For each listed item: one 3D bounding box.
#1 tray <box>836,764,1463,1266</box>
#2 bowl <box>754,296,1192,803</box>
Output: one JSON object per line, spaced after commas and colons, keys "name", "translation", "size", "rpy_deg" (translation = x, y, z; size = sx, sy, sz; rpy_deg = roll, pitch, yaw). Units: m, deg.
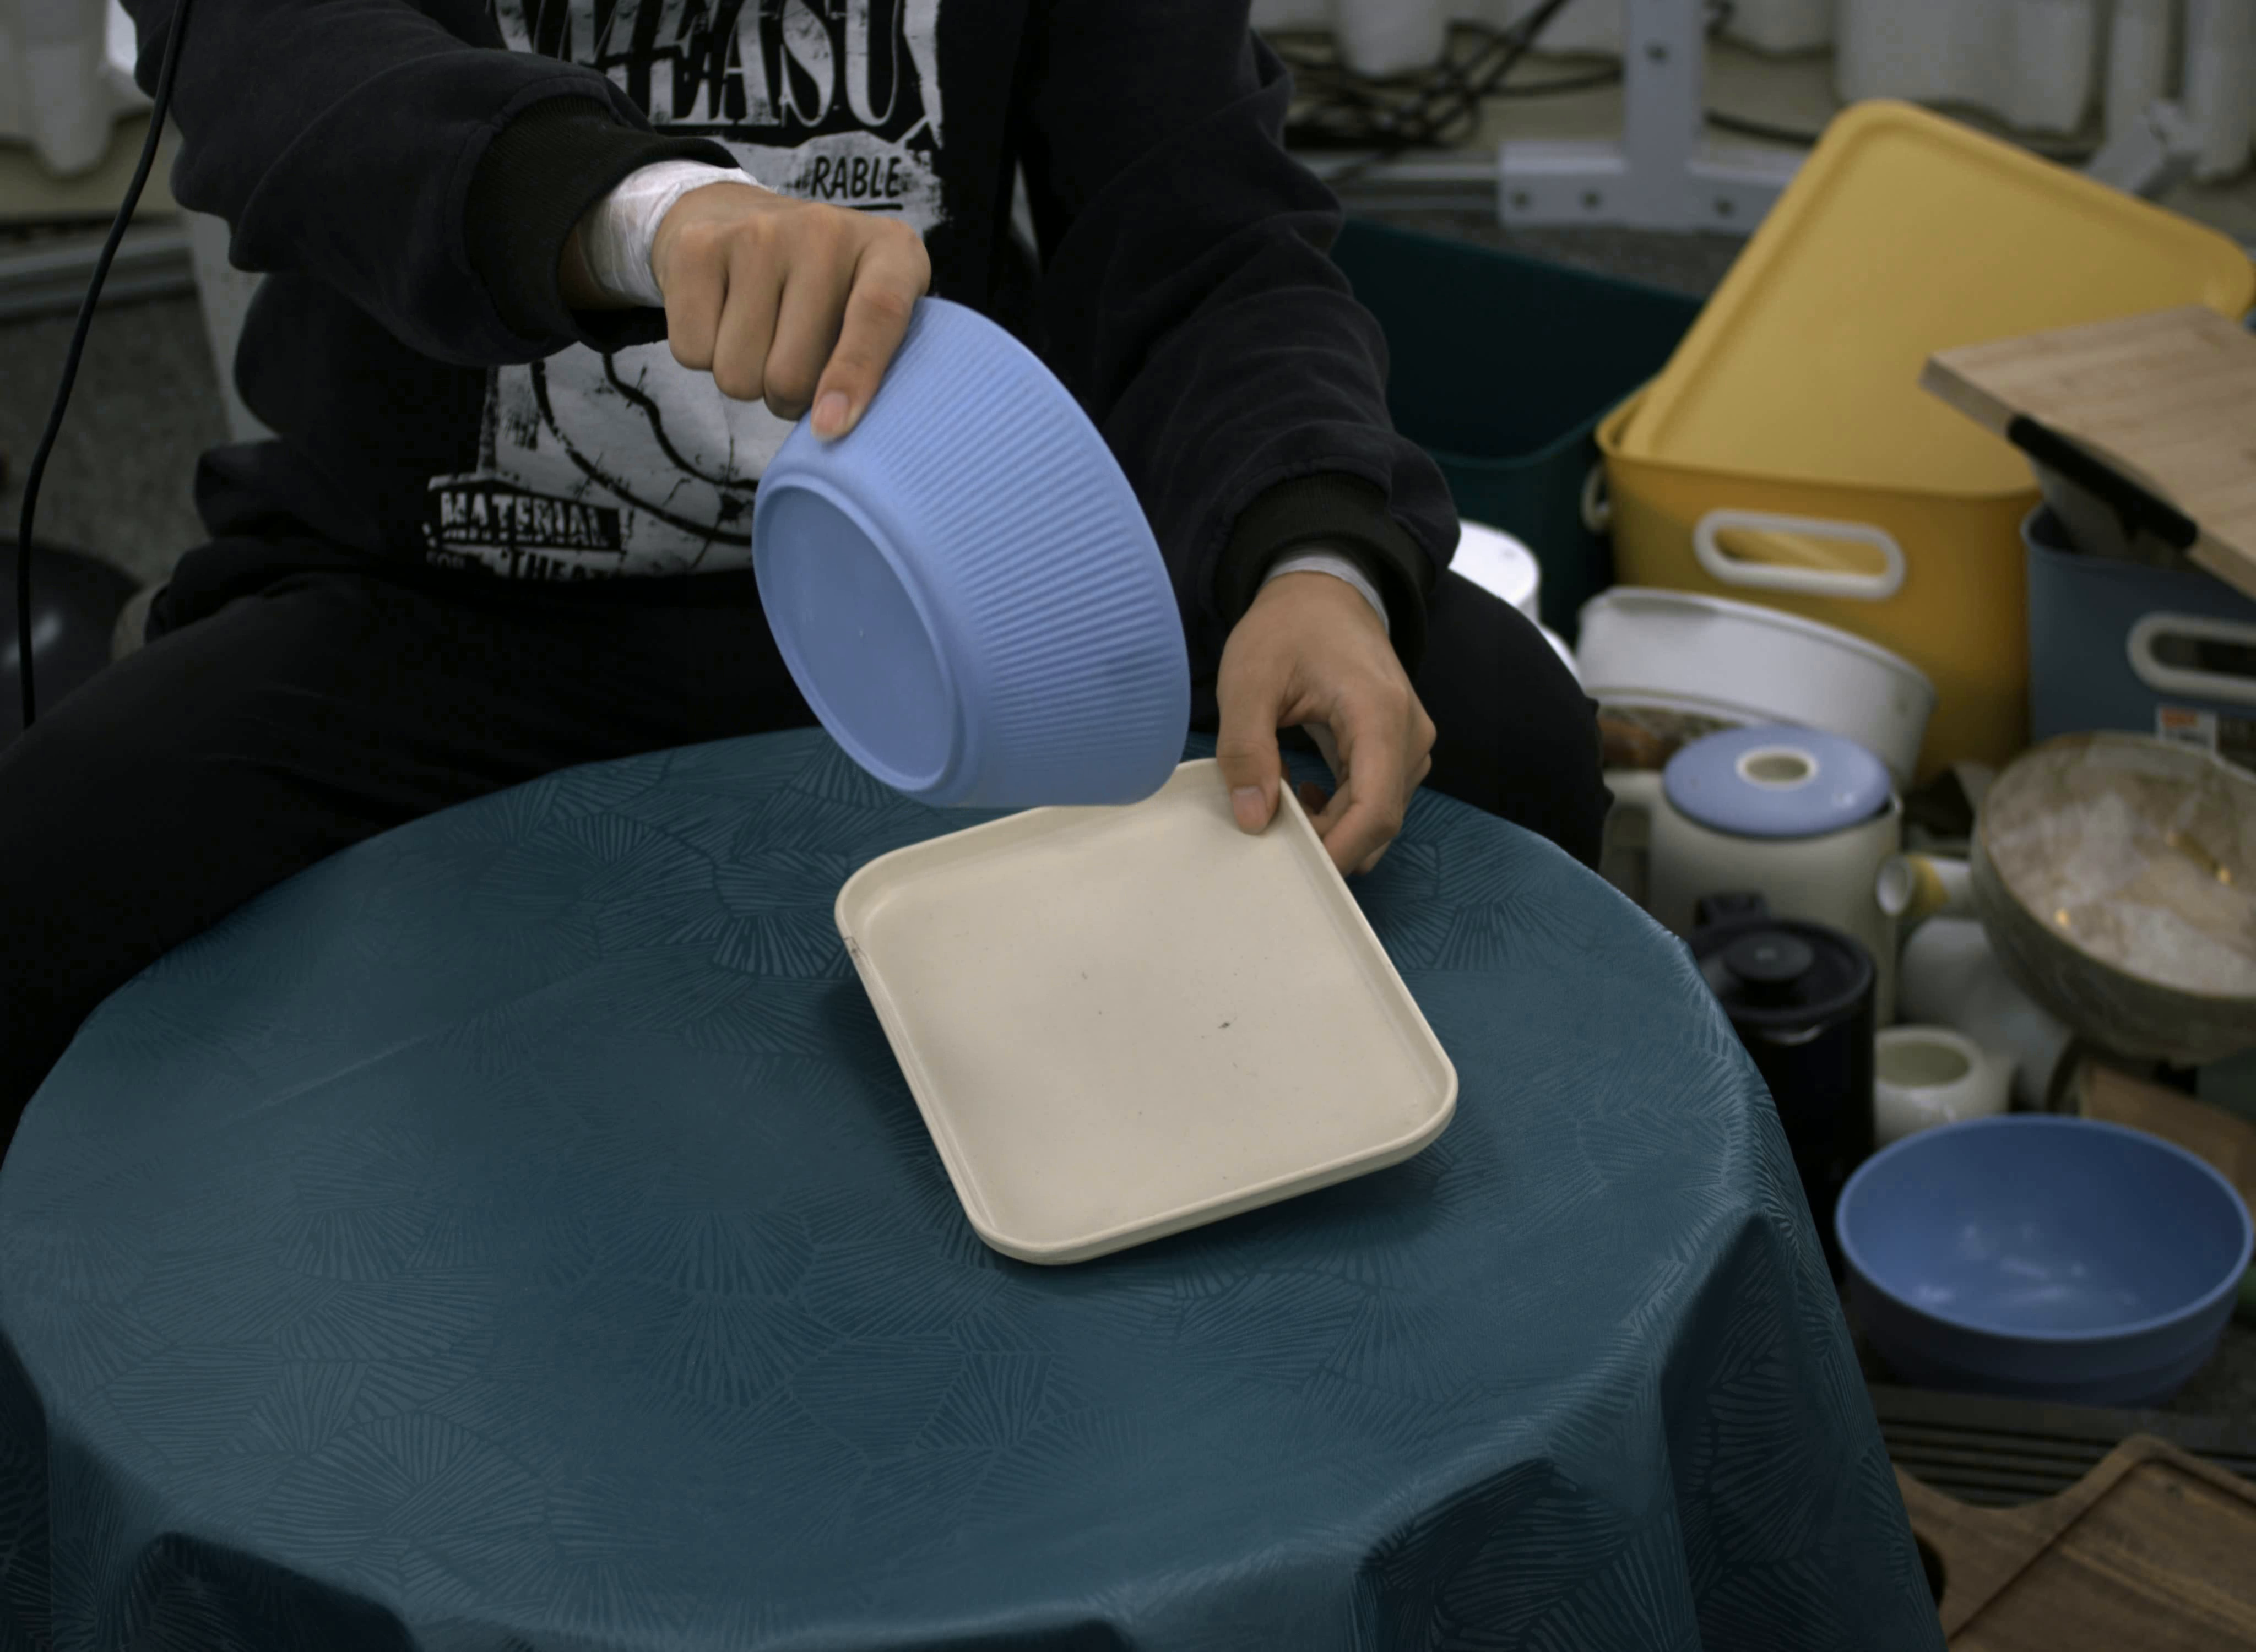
{"name": "tray", "translation": [0.005, 0.063, 1.917], "size": [0.171, 0.017, 0.242], "rpy_deg": [-15, 35, -10]}
{"name": "bowl", "translation": [-0.060, -0.075, 1.781], "size": [0.071, 0.174, 0.176], "rpy_deg": [-28, 36, -27]}
